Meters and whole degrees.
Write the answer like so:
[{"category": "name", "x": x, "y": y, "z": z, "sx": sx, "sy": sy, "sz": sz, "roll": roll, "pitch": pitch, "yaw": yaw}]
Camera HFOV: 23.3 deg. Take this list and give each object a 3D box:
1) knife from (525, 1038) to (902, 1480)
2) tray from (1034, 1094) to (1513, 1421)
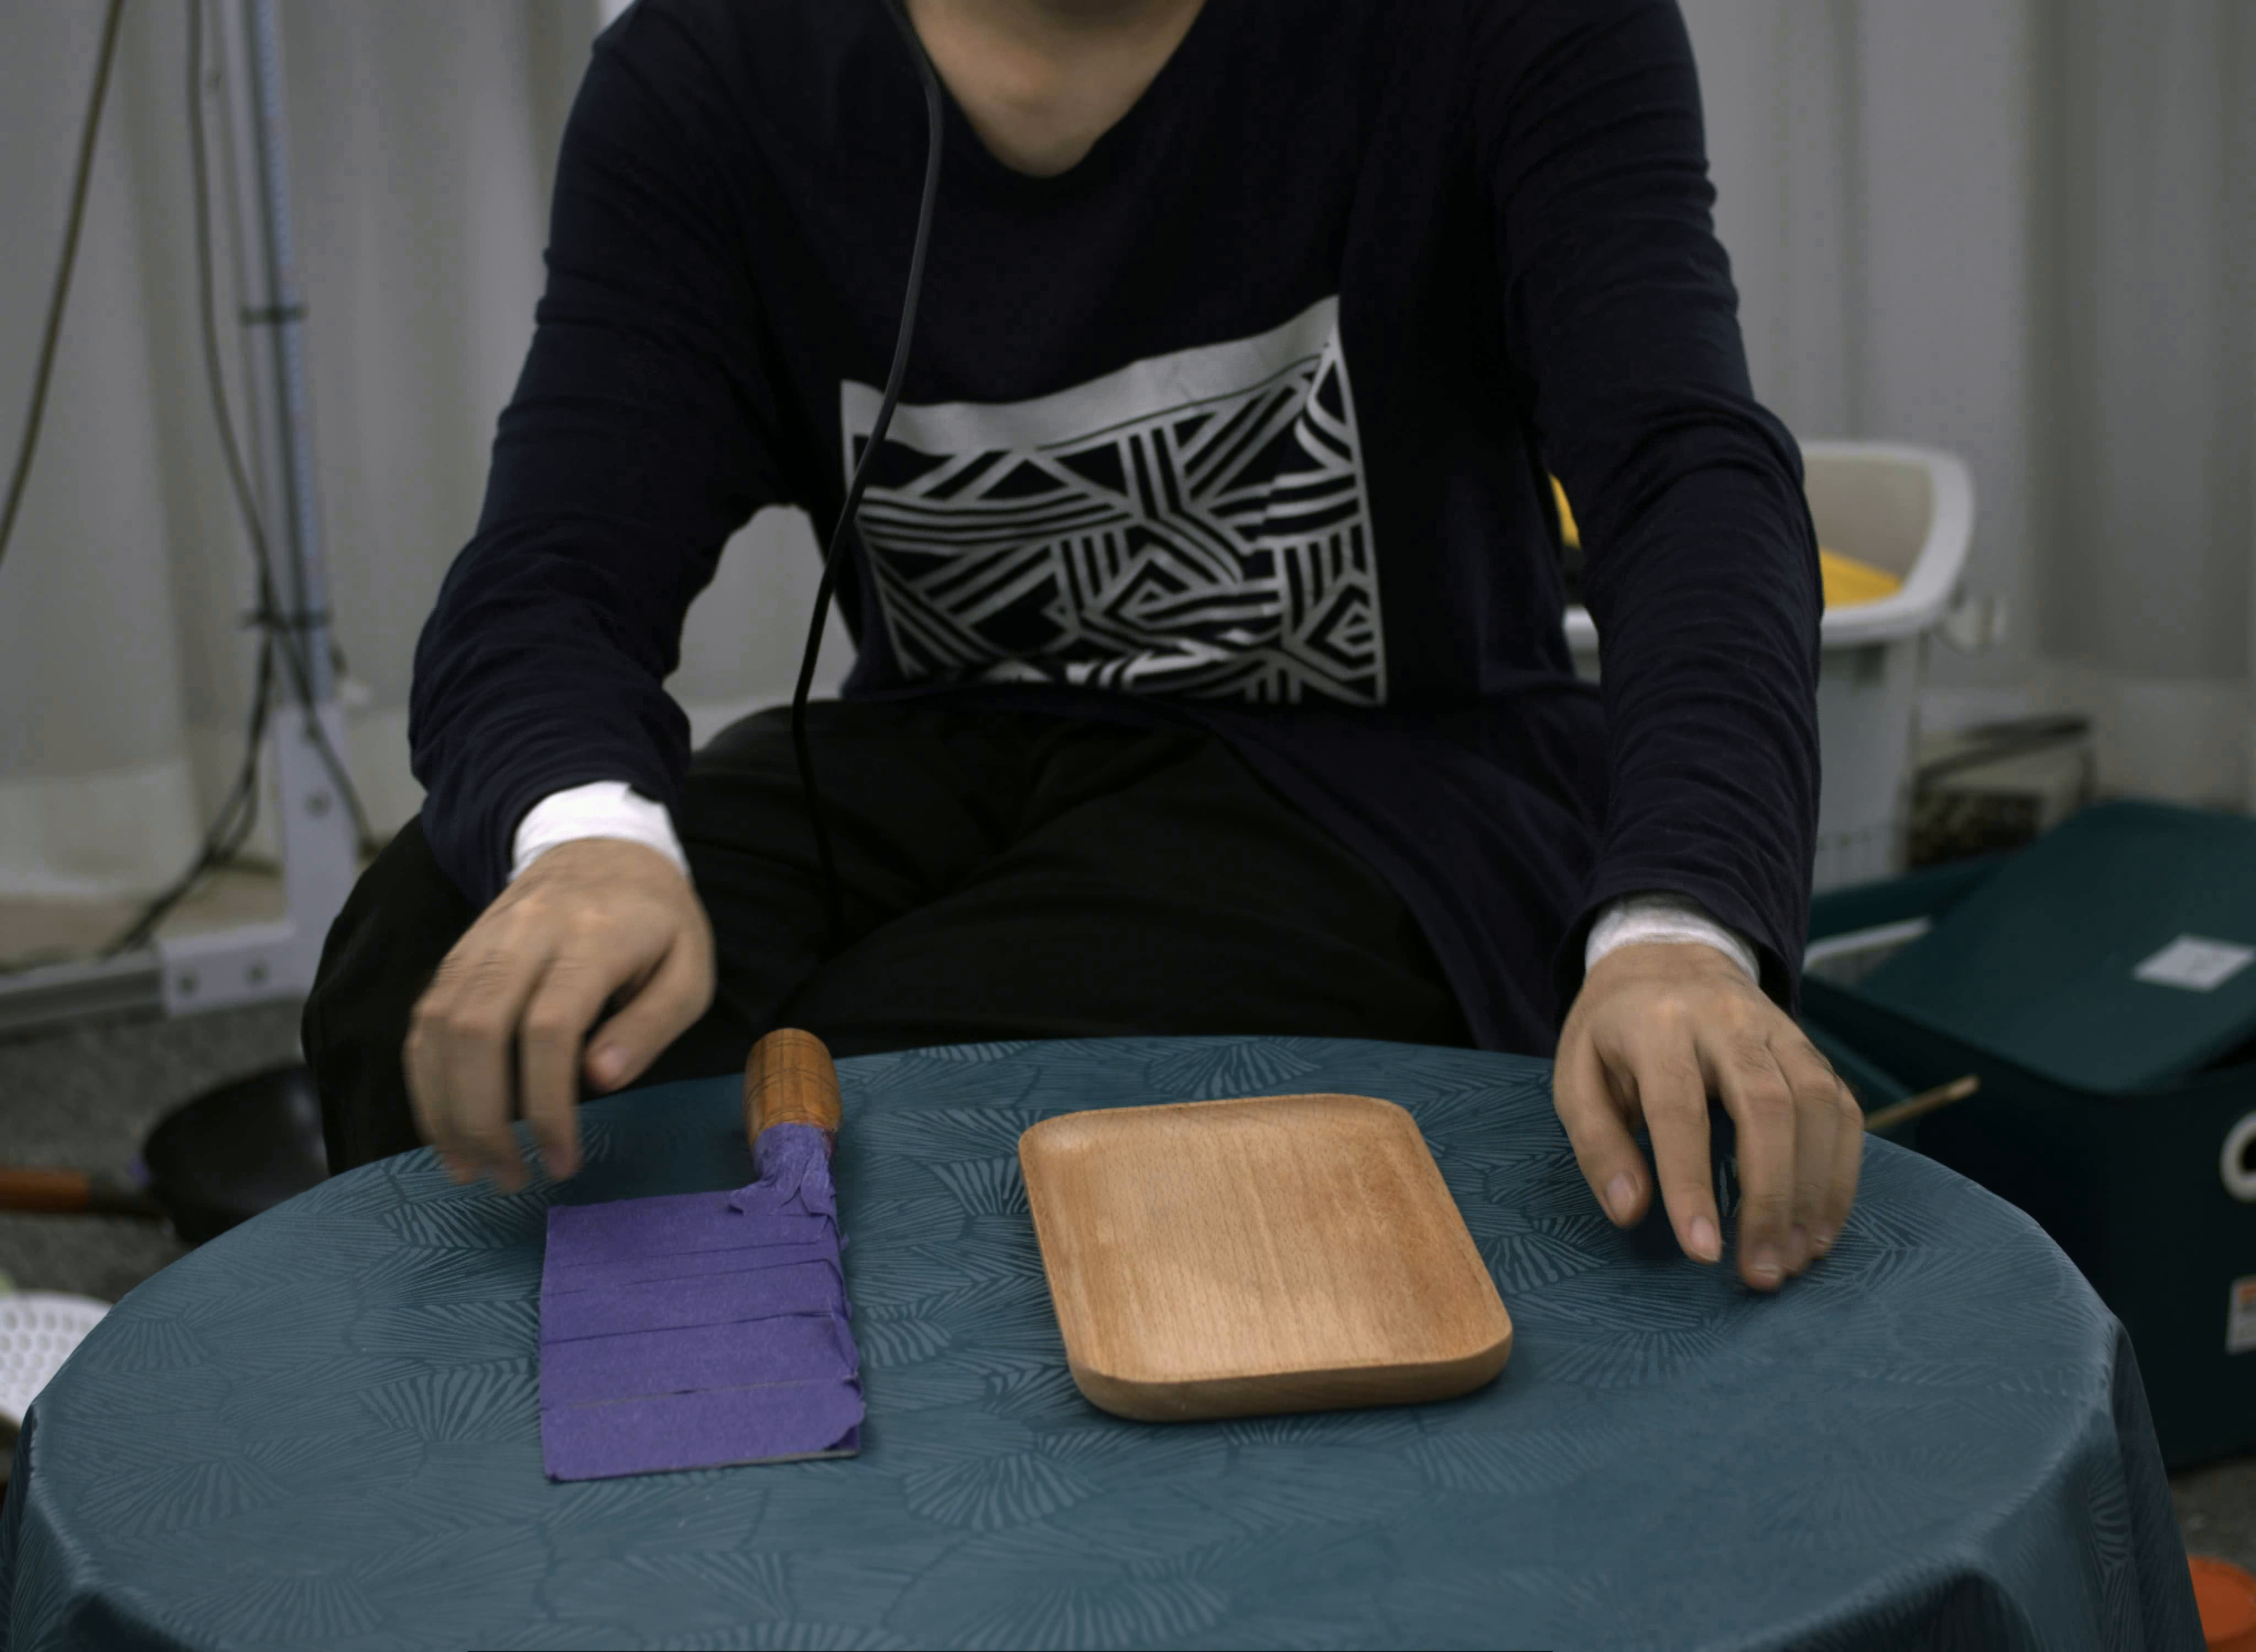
[{"category": "knife", "x": -0.129, "y": 0.126, "z": 1.646, "sx": 0.103, "sy": 0.032, "sz": 0.317, "roll": -5, "pitch": 15, "yaw": -5}, {"category": "tray", "x": 0.039, "y": 0.126, "z": 1.635, "sx": 0.130, "sy": 0.023, "sz": 0.252, "roll": -1, "pitch": 14, "yaw": -2}]
